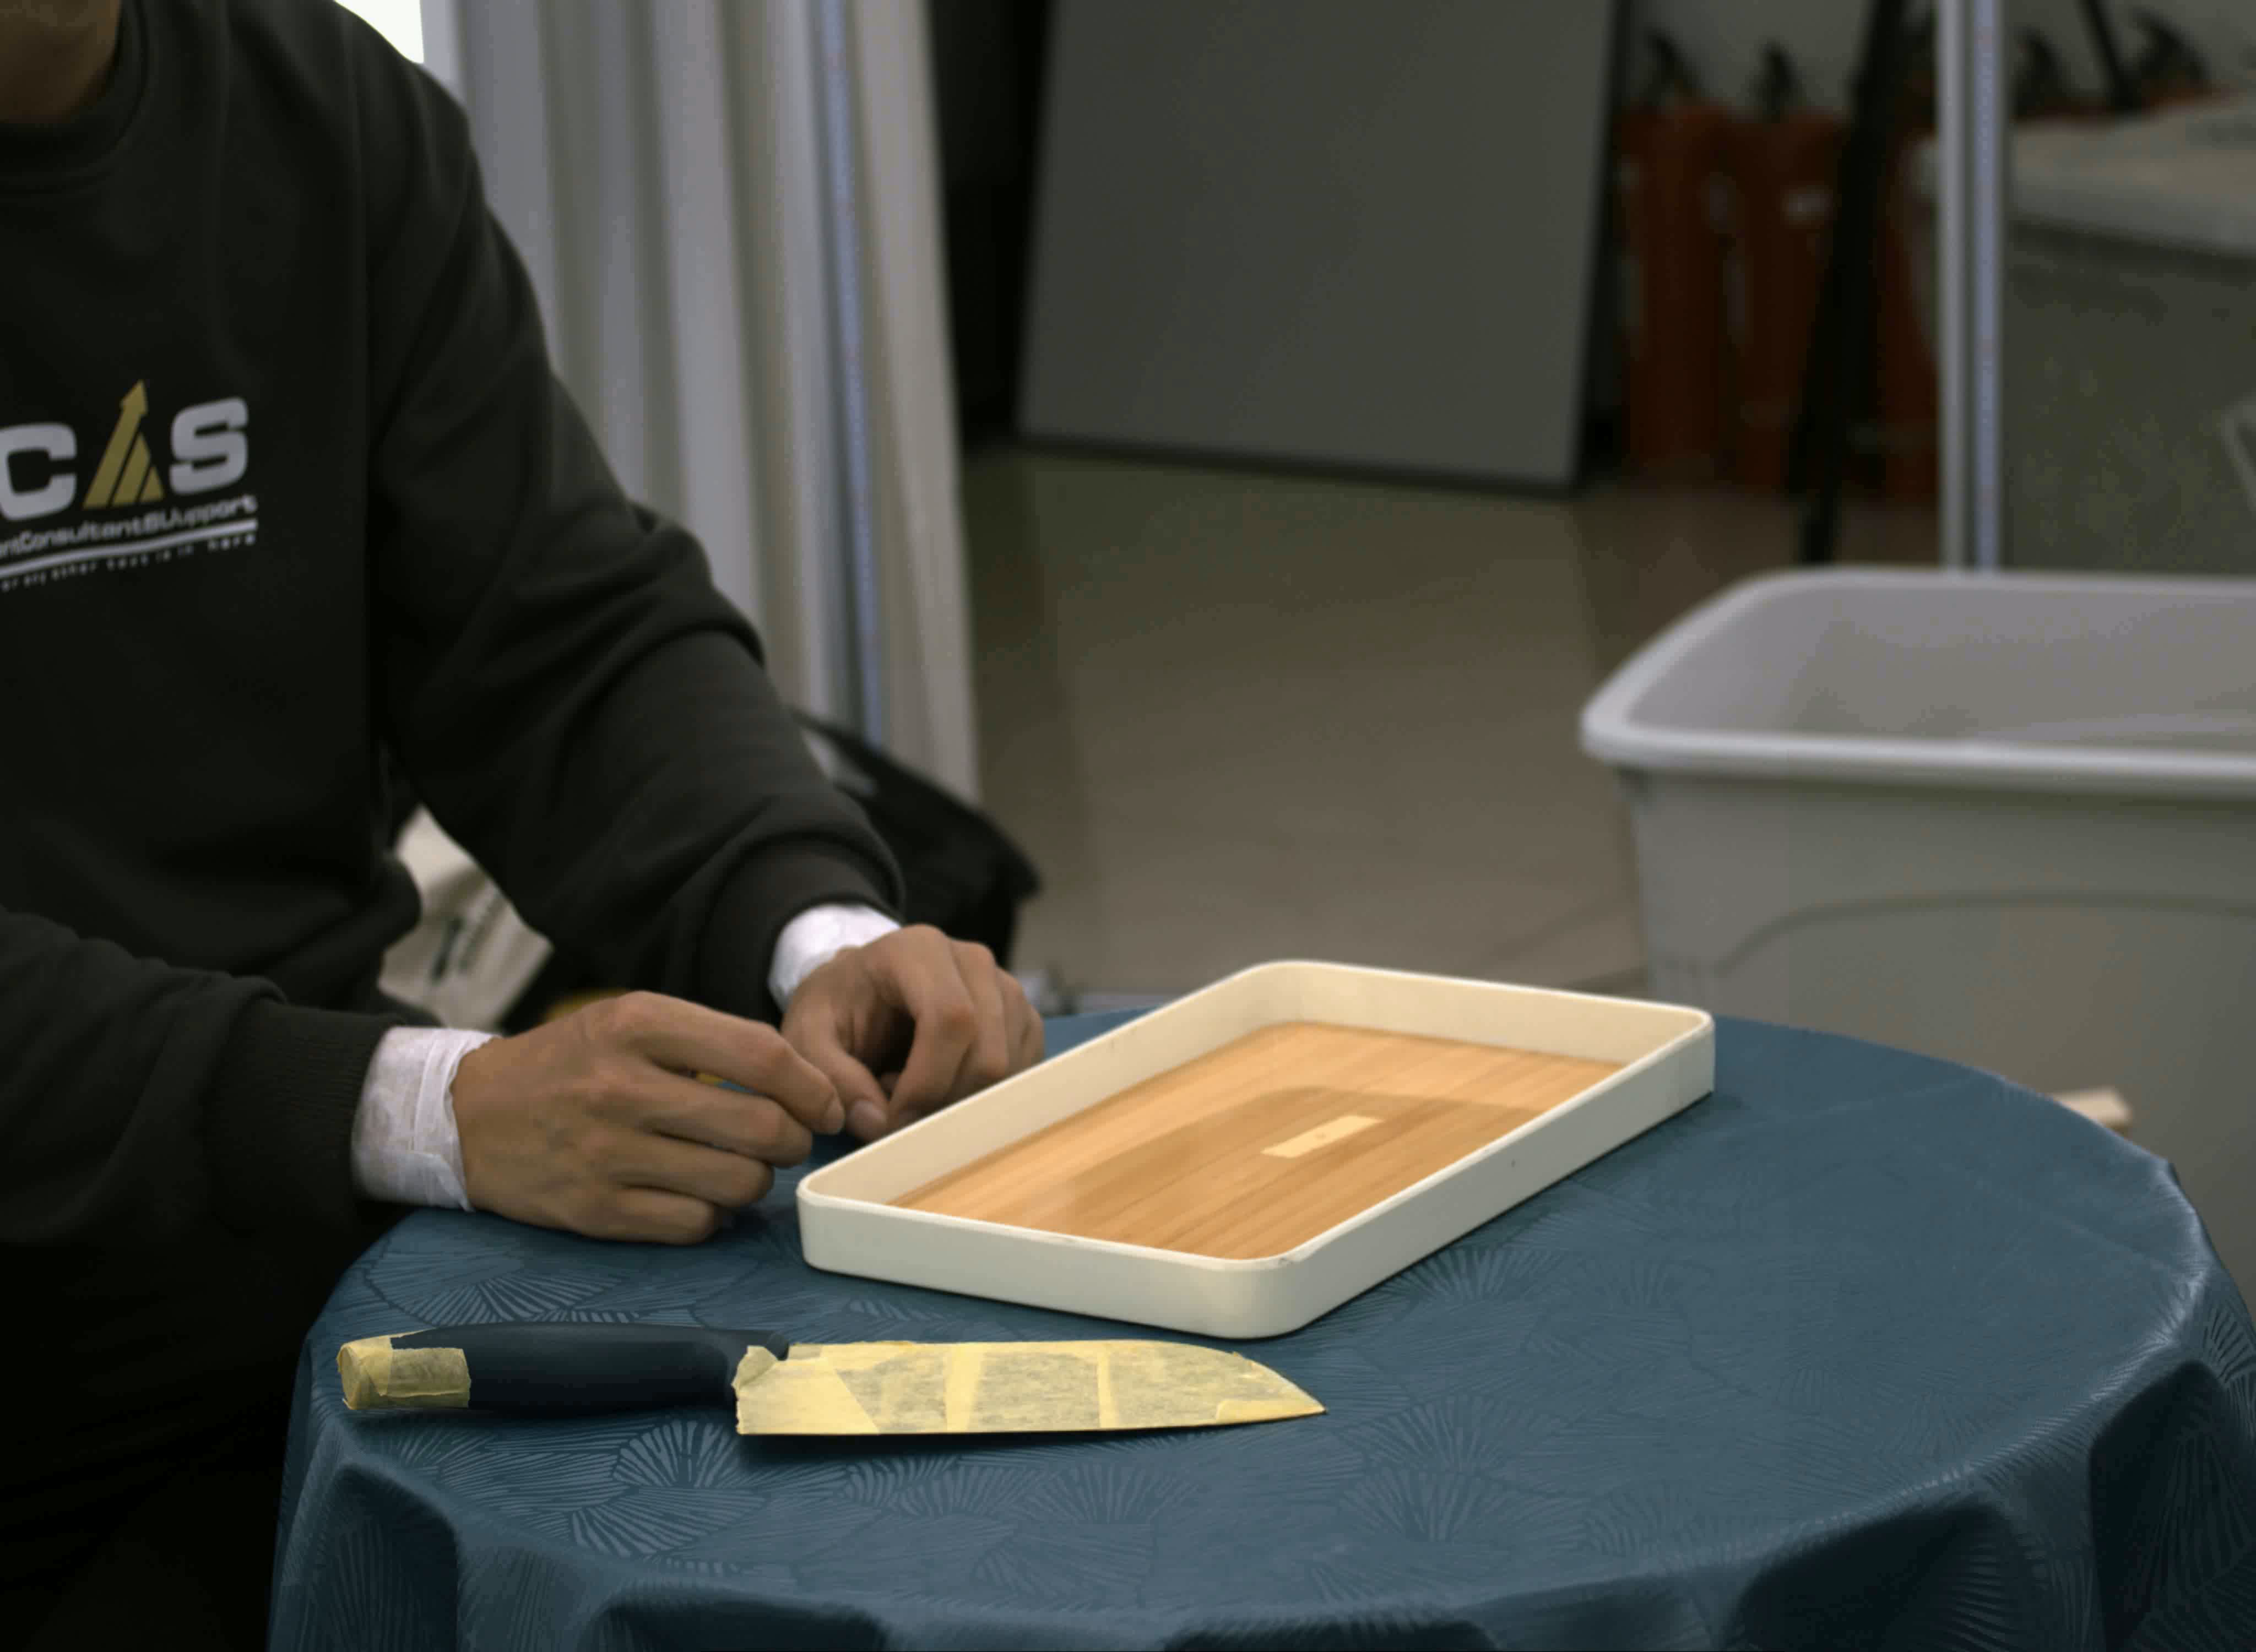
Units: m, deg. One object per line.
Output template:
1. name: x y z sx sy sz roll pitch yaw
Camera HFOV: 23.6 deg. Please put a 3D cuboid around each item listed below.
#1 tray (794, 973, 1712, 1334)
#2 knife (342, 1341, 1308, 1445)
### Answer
1. tray: 0.047 0.104 1.779 0.193 0.028 0.295 4 15 35
2. knife: -0.089 0.167 1.581 0.286 0.027 0.081 -2 12 3
